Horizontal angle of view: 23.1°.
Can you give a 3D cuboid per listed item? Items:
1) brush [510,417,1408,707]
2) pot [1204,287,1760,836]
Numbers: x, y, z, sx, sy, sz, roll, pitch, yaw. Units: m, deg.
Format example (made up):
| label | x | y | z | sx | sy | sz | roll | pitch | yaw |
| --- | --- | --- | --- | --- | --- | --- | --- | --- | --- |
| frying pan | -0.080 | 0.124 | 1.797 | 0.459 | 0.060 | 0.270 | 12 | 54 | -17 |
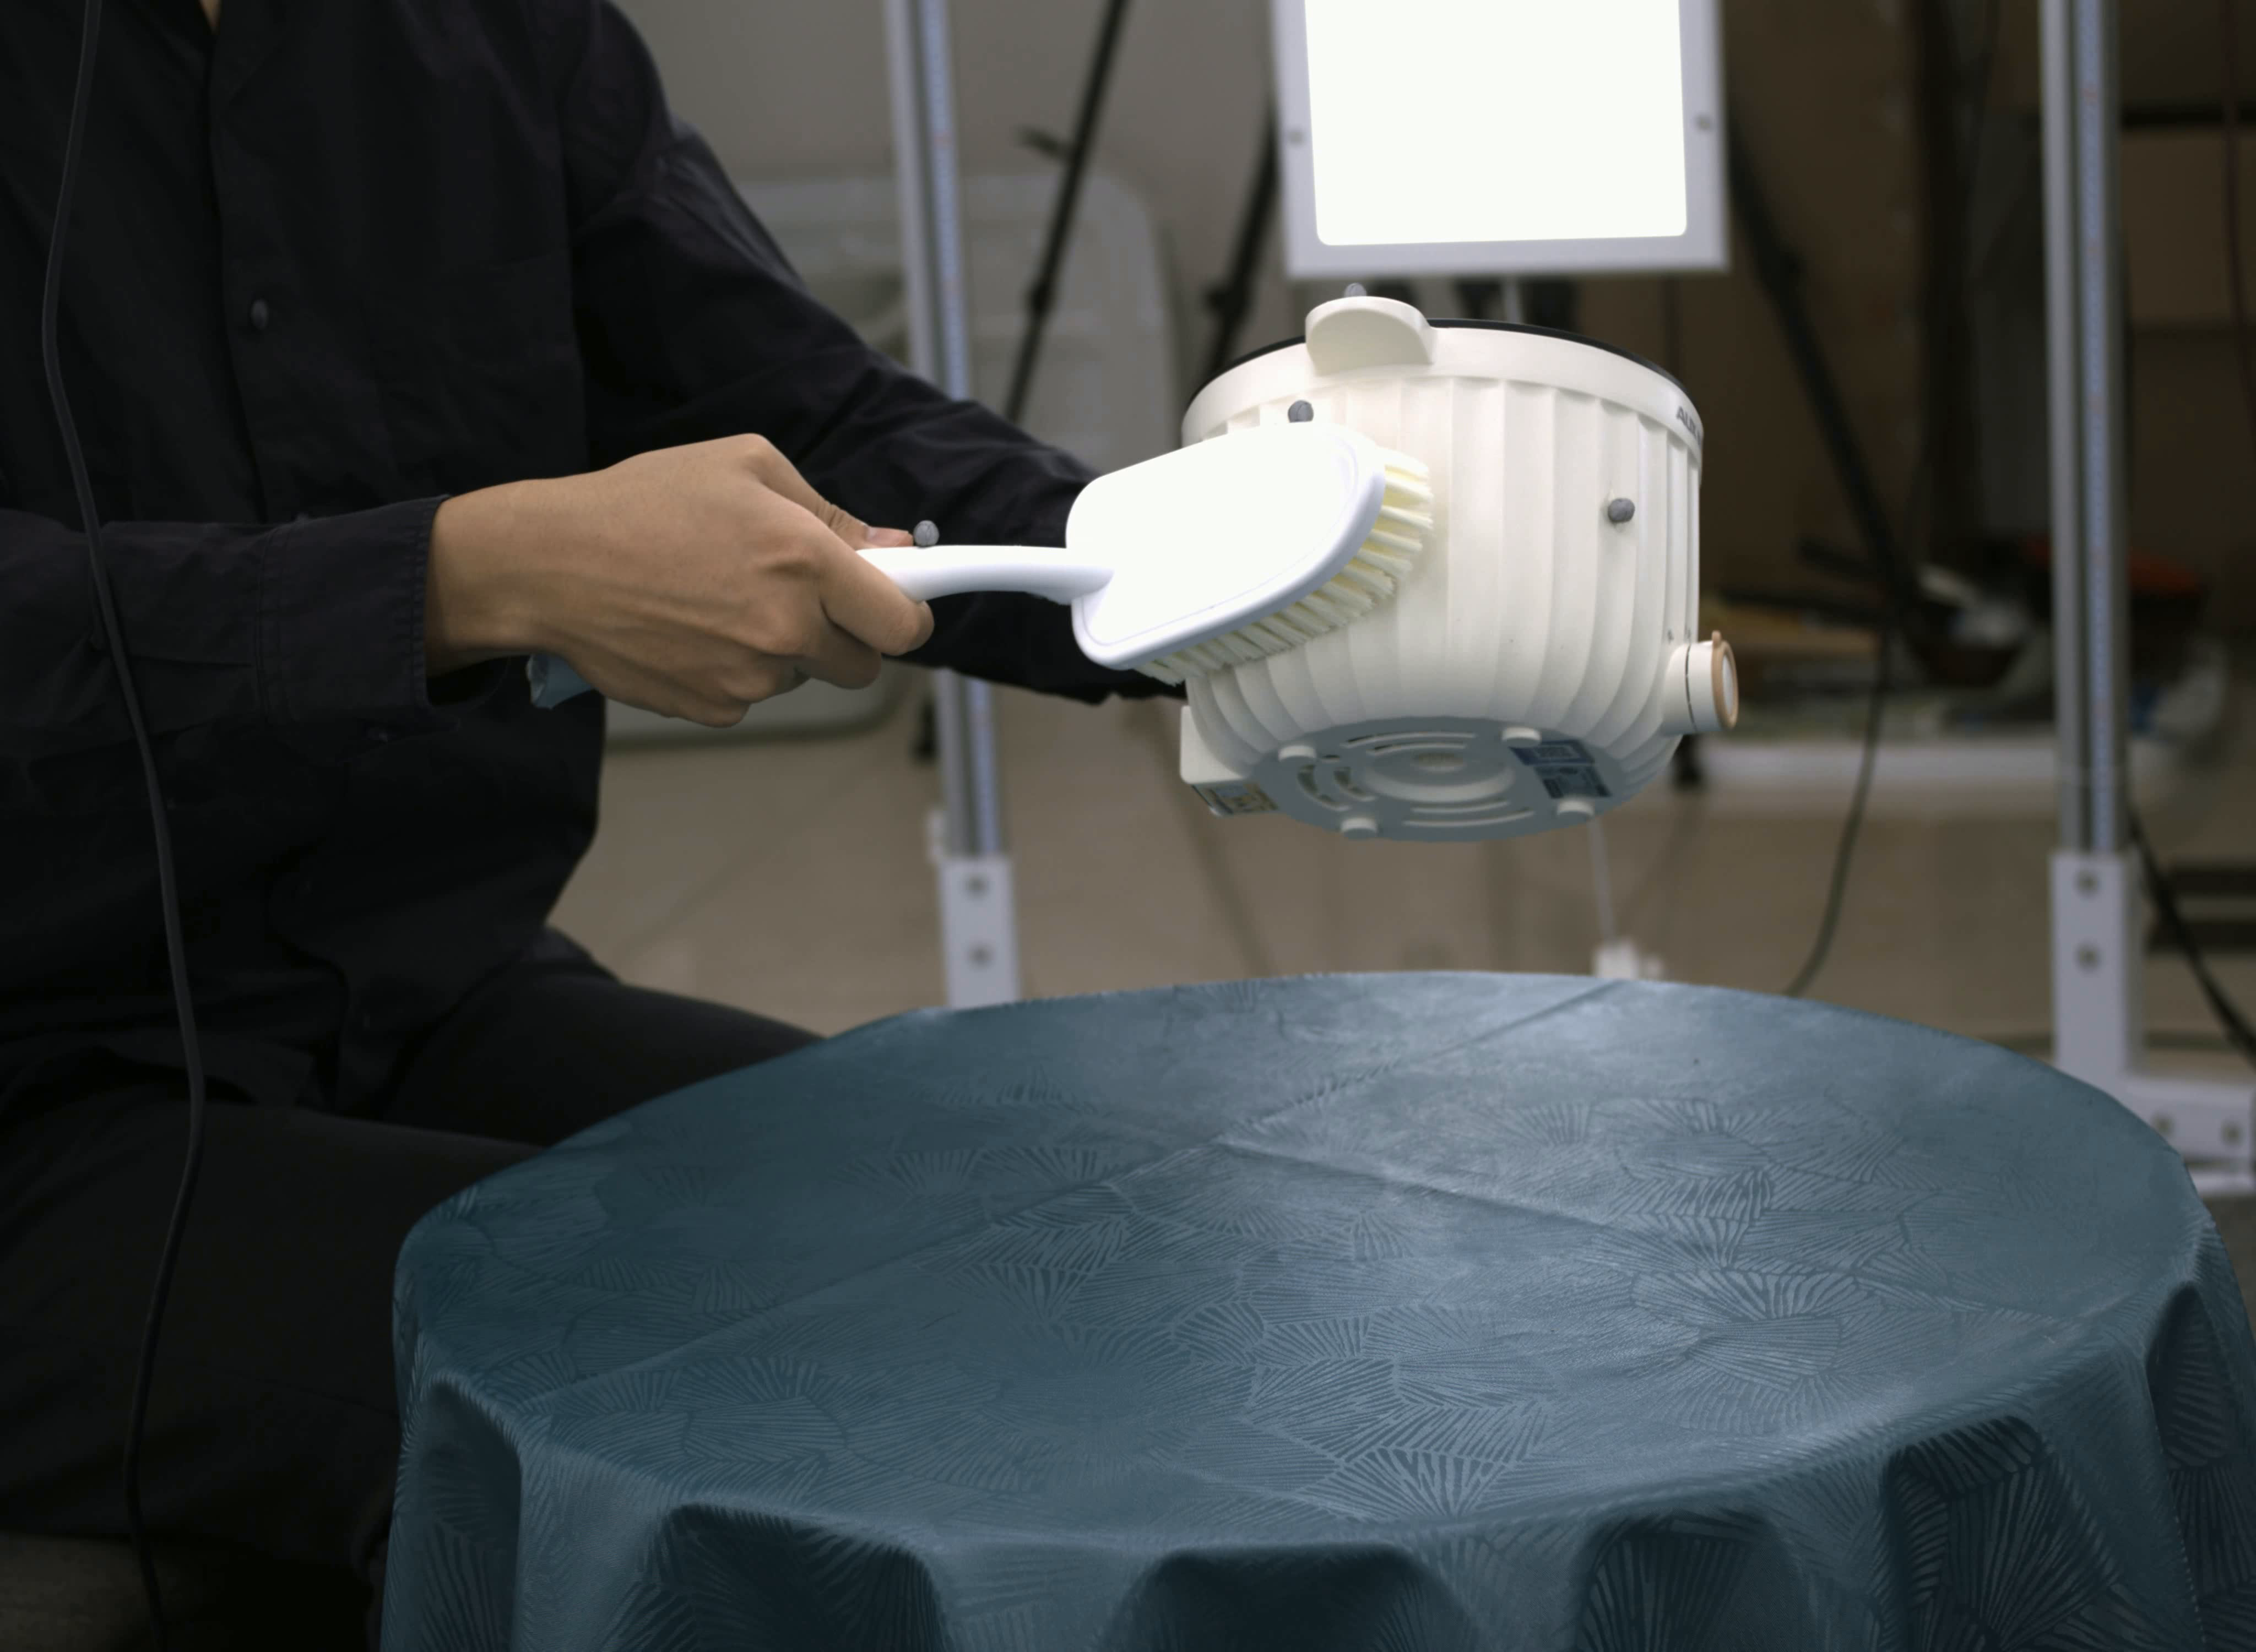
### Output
| label | x | y | z | sx | sy | sz | roll | pitch | yaw |
| --- | --- | --- | --- | --- | --- | --- | --- | --- | --- |
| brush | -0.054 | -0.079 | 1.855 | 0.330 | 0.084 | 0.082 | -13 | 33 | 23 |
| pot | 0.122 | -0.080 | 1.904 | 0.192 | 0.142 | 0.237 | -7 | -20 | 17 |
